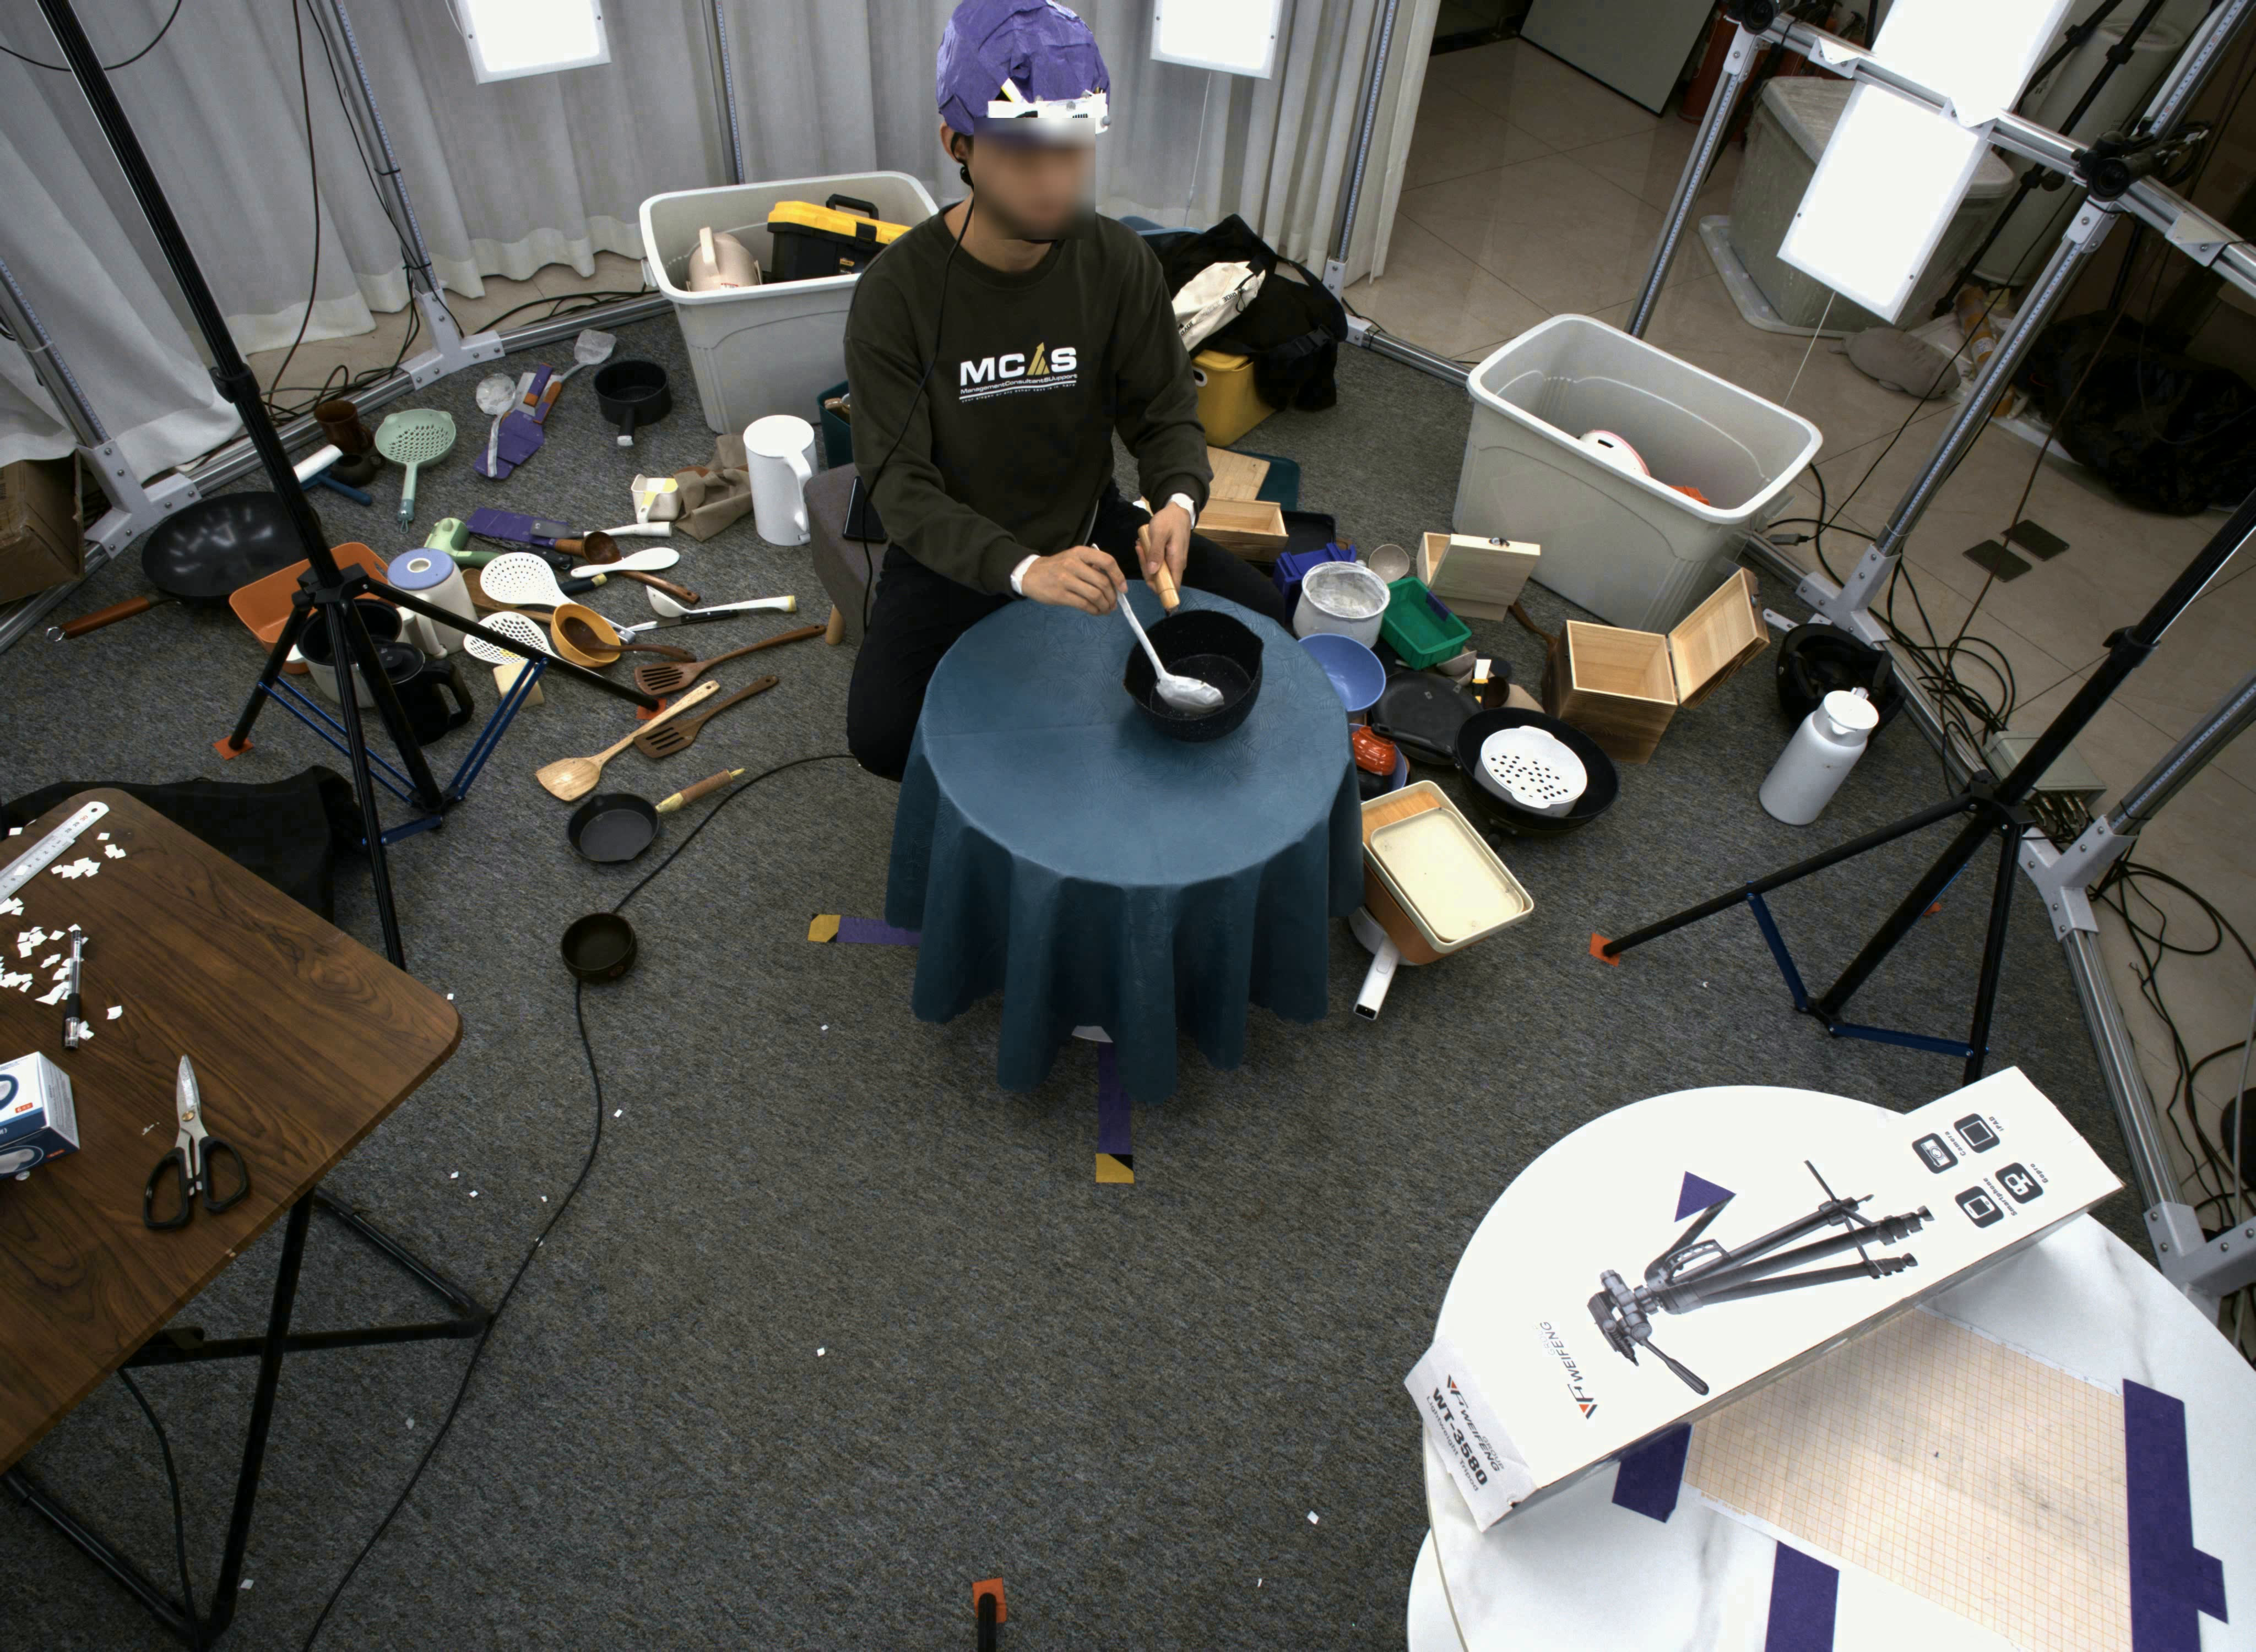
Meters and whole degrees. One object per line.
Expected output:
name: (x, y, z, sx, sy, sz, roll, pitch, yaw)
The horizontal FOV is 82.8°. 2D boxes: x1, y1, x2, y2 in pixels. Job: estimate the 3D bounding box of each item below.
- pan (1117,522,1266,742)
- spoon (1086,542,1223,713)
pan: (0.073, -0.272, 1.803, 0.207, 0.106, 0.350, -19, 59, 3)
spoon: (0.031, -0.263, 1.716, 0.060, 0.100, 0.276, -35, 99, -35)
